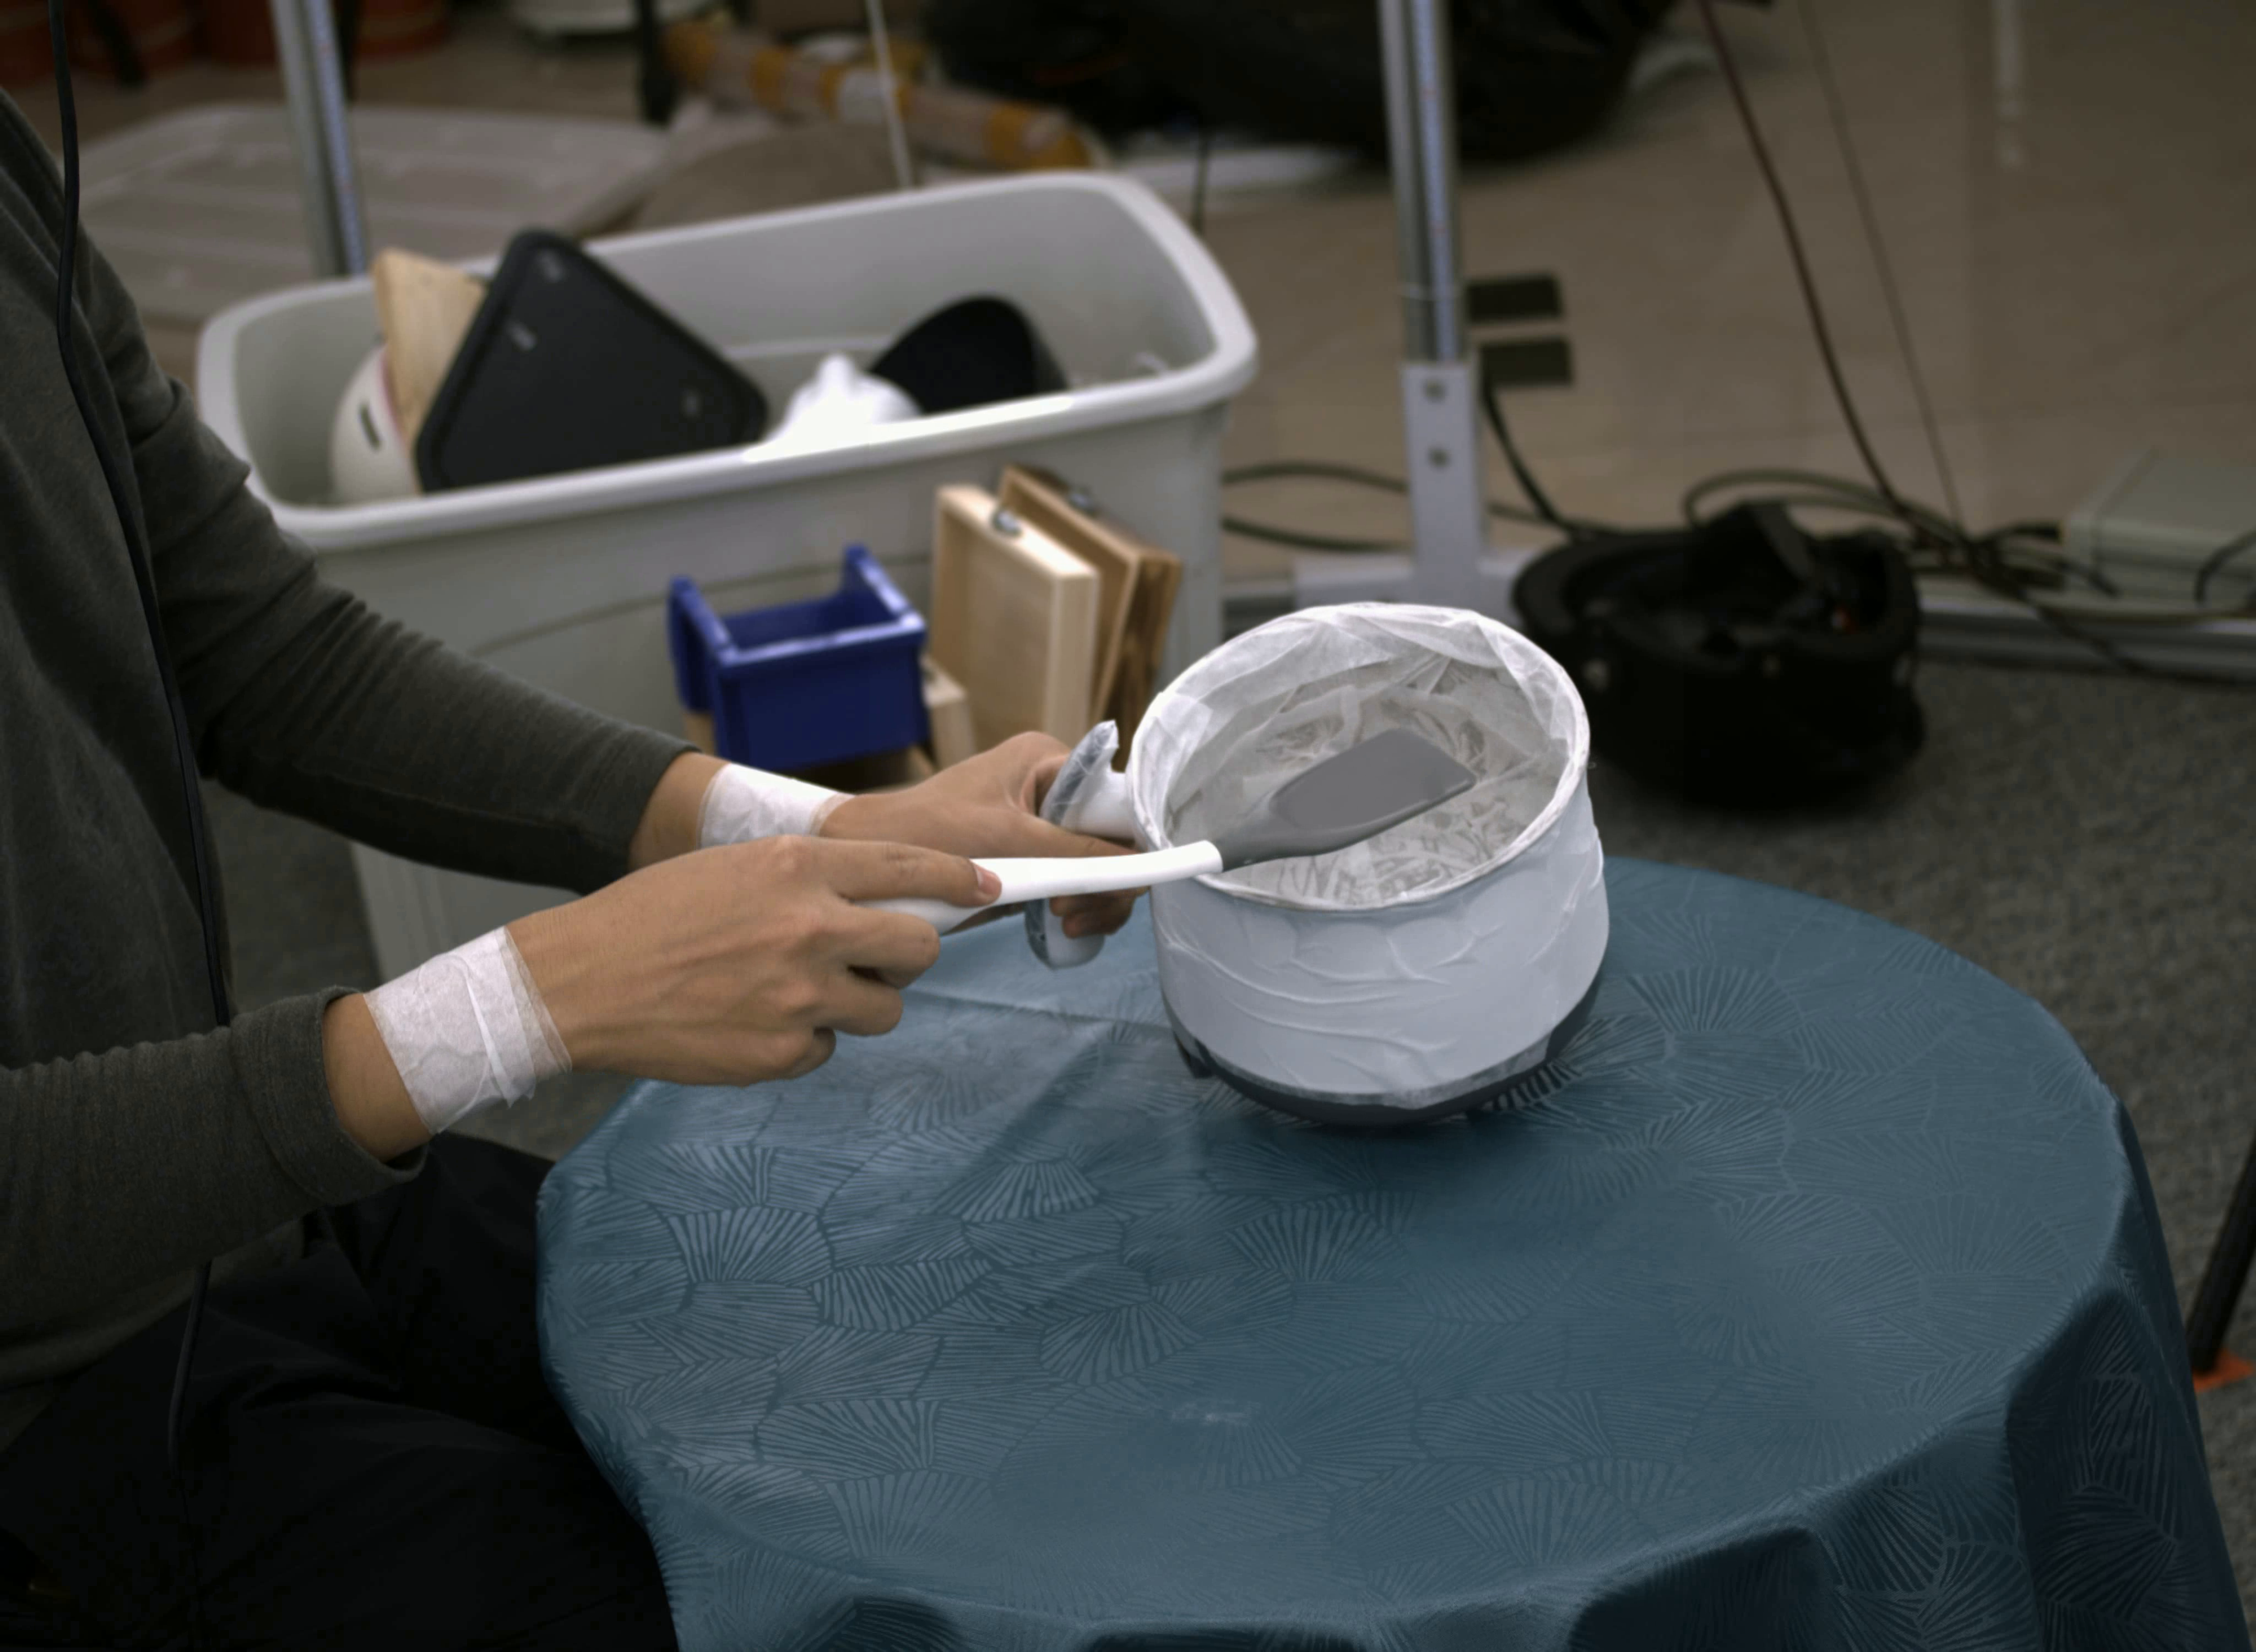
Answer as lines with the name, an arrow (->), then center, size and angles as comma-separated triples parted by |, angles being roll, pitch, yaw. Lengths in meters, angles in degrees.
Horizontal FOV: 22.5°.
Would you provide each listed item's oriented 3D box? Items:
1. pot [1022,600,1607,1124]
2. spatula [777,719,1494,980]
pot -> 0.068, 0.016, 2.194 | 0.233, 0.139, 0.175 | 4, 42, 14
spatula -> 0.004, 0.008, 2.040 | 0.286, 0.033, 0.058 | -14, 32, -31
